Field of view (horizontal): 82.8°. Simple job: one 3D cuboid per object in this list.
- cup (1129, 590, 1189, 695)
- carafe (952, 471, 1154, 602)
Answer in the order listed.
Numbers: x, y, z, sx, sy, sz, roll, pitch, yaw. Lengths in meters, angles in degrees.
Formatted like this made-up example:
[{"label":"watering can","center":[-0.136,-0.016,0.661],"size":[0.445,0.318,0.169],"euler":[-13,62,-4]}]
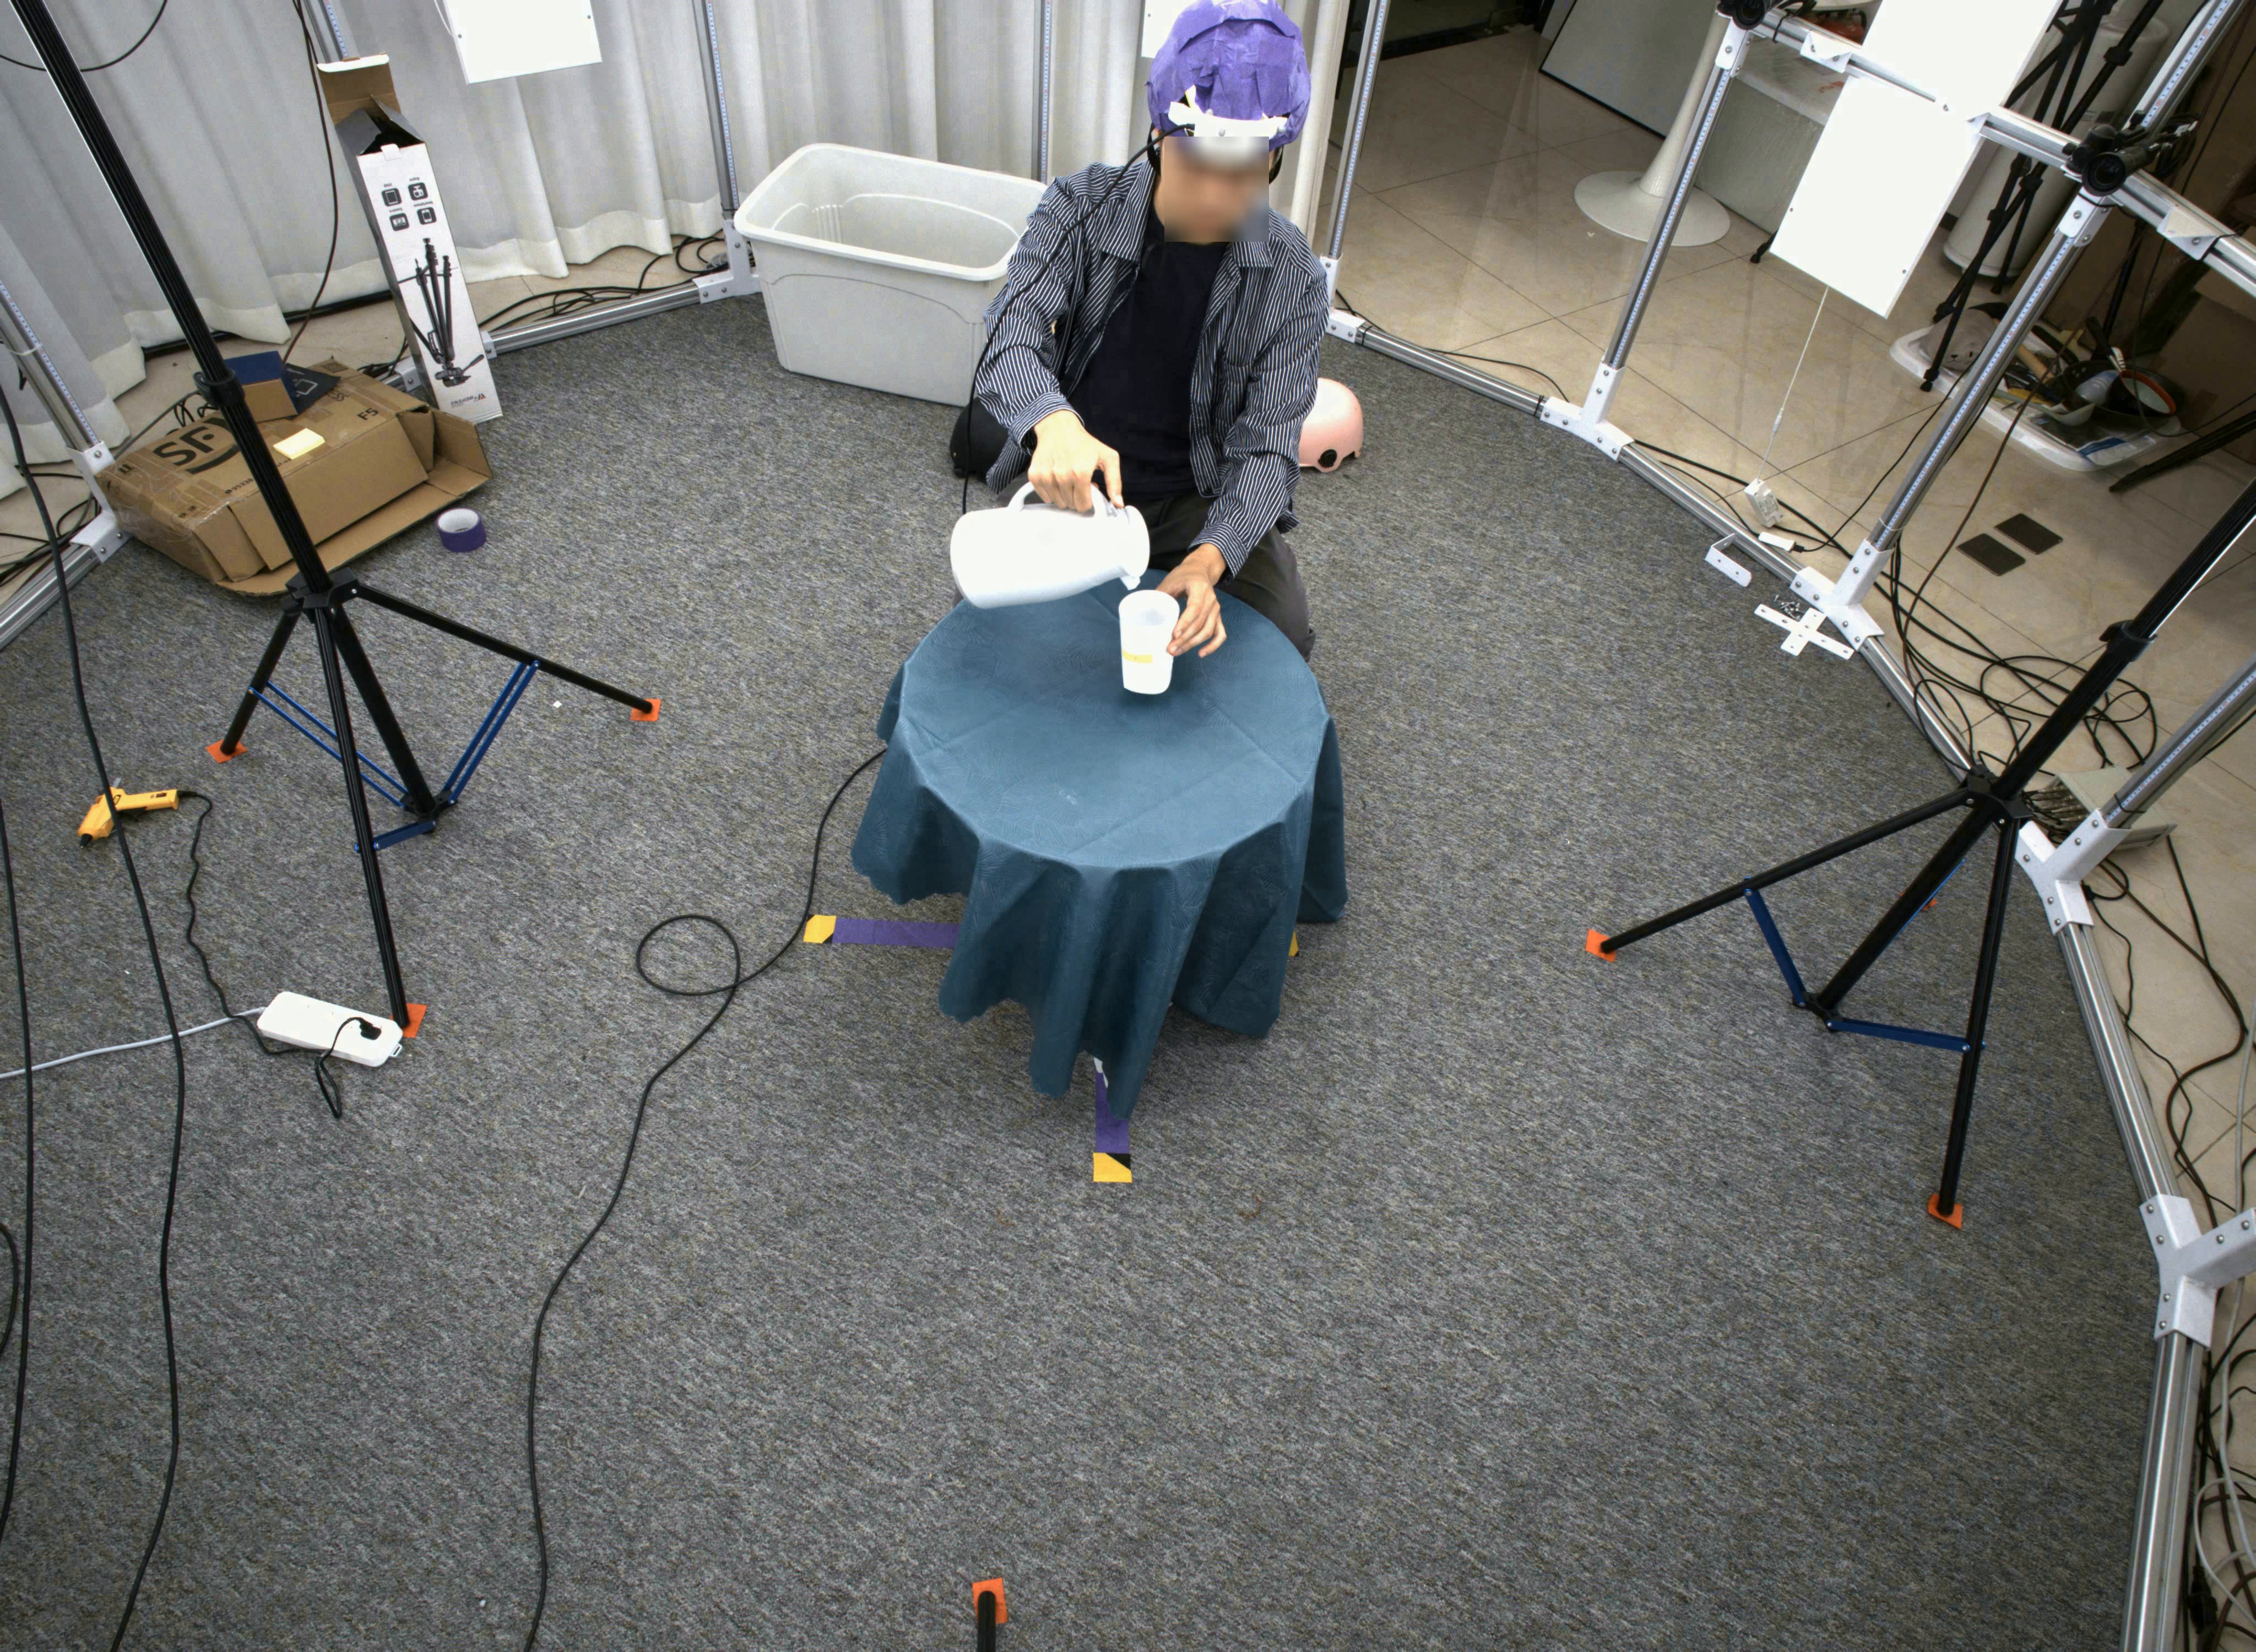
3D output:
[{"label":"cup","center":[0.041,-0.247,1.754],"size":[0.081,0.122,0.084],"euler":[1,46,-1]},{"label":"carafe","center":[-0.096,-0.378,1.677],"size":[0.249,0.164,0.135],"euler":[2,43,27]}]
